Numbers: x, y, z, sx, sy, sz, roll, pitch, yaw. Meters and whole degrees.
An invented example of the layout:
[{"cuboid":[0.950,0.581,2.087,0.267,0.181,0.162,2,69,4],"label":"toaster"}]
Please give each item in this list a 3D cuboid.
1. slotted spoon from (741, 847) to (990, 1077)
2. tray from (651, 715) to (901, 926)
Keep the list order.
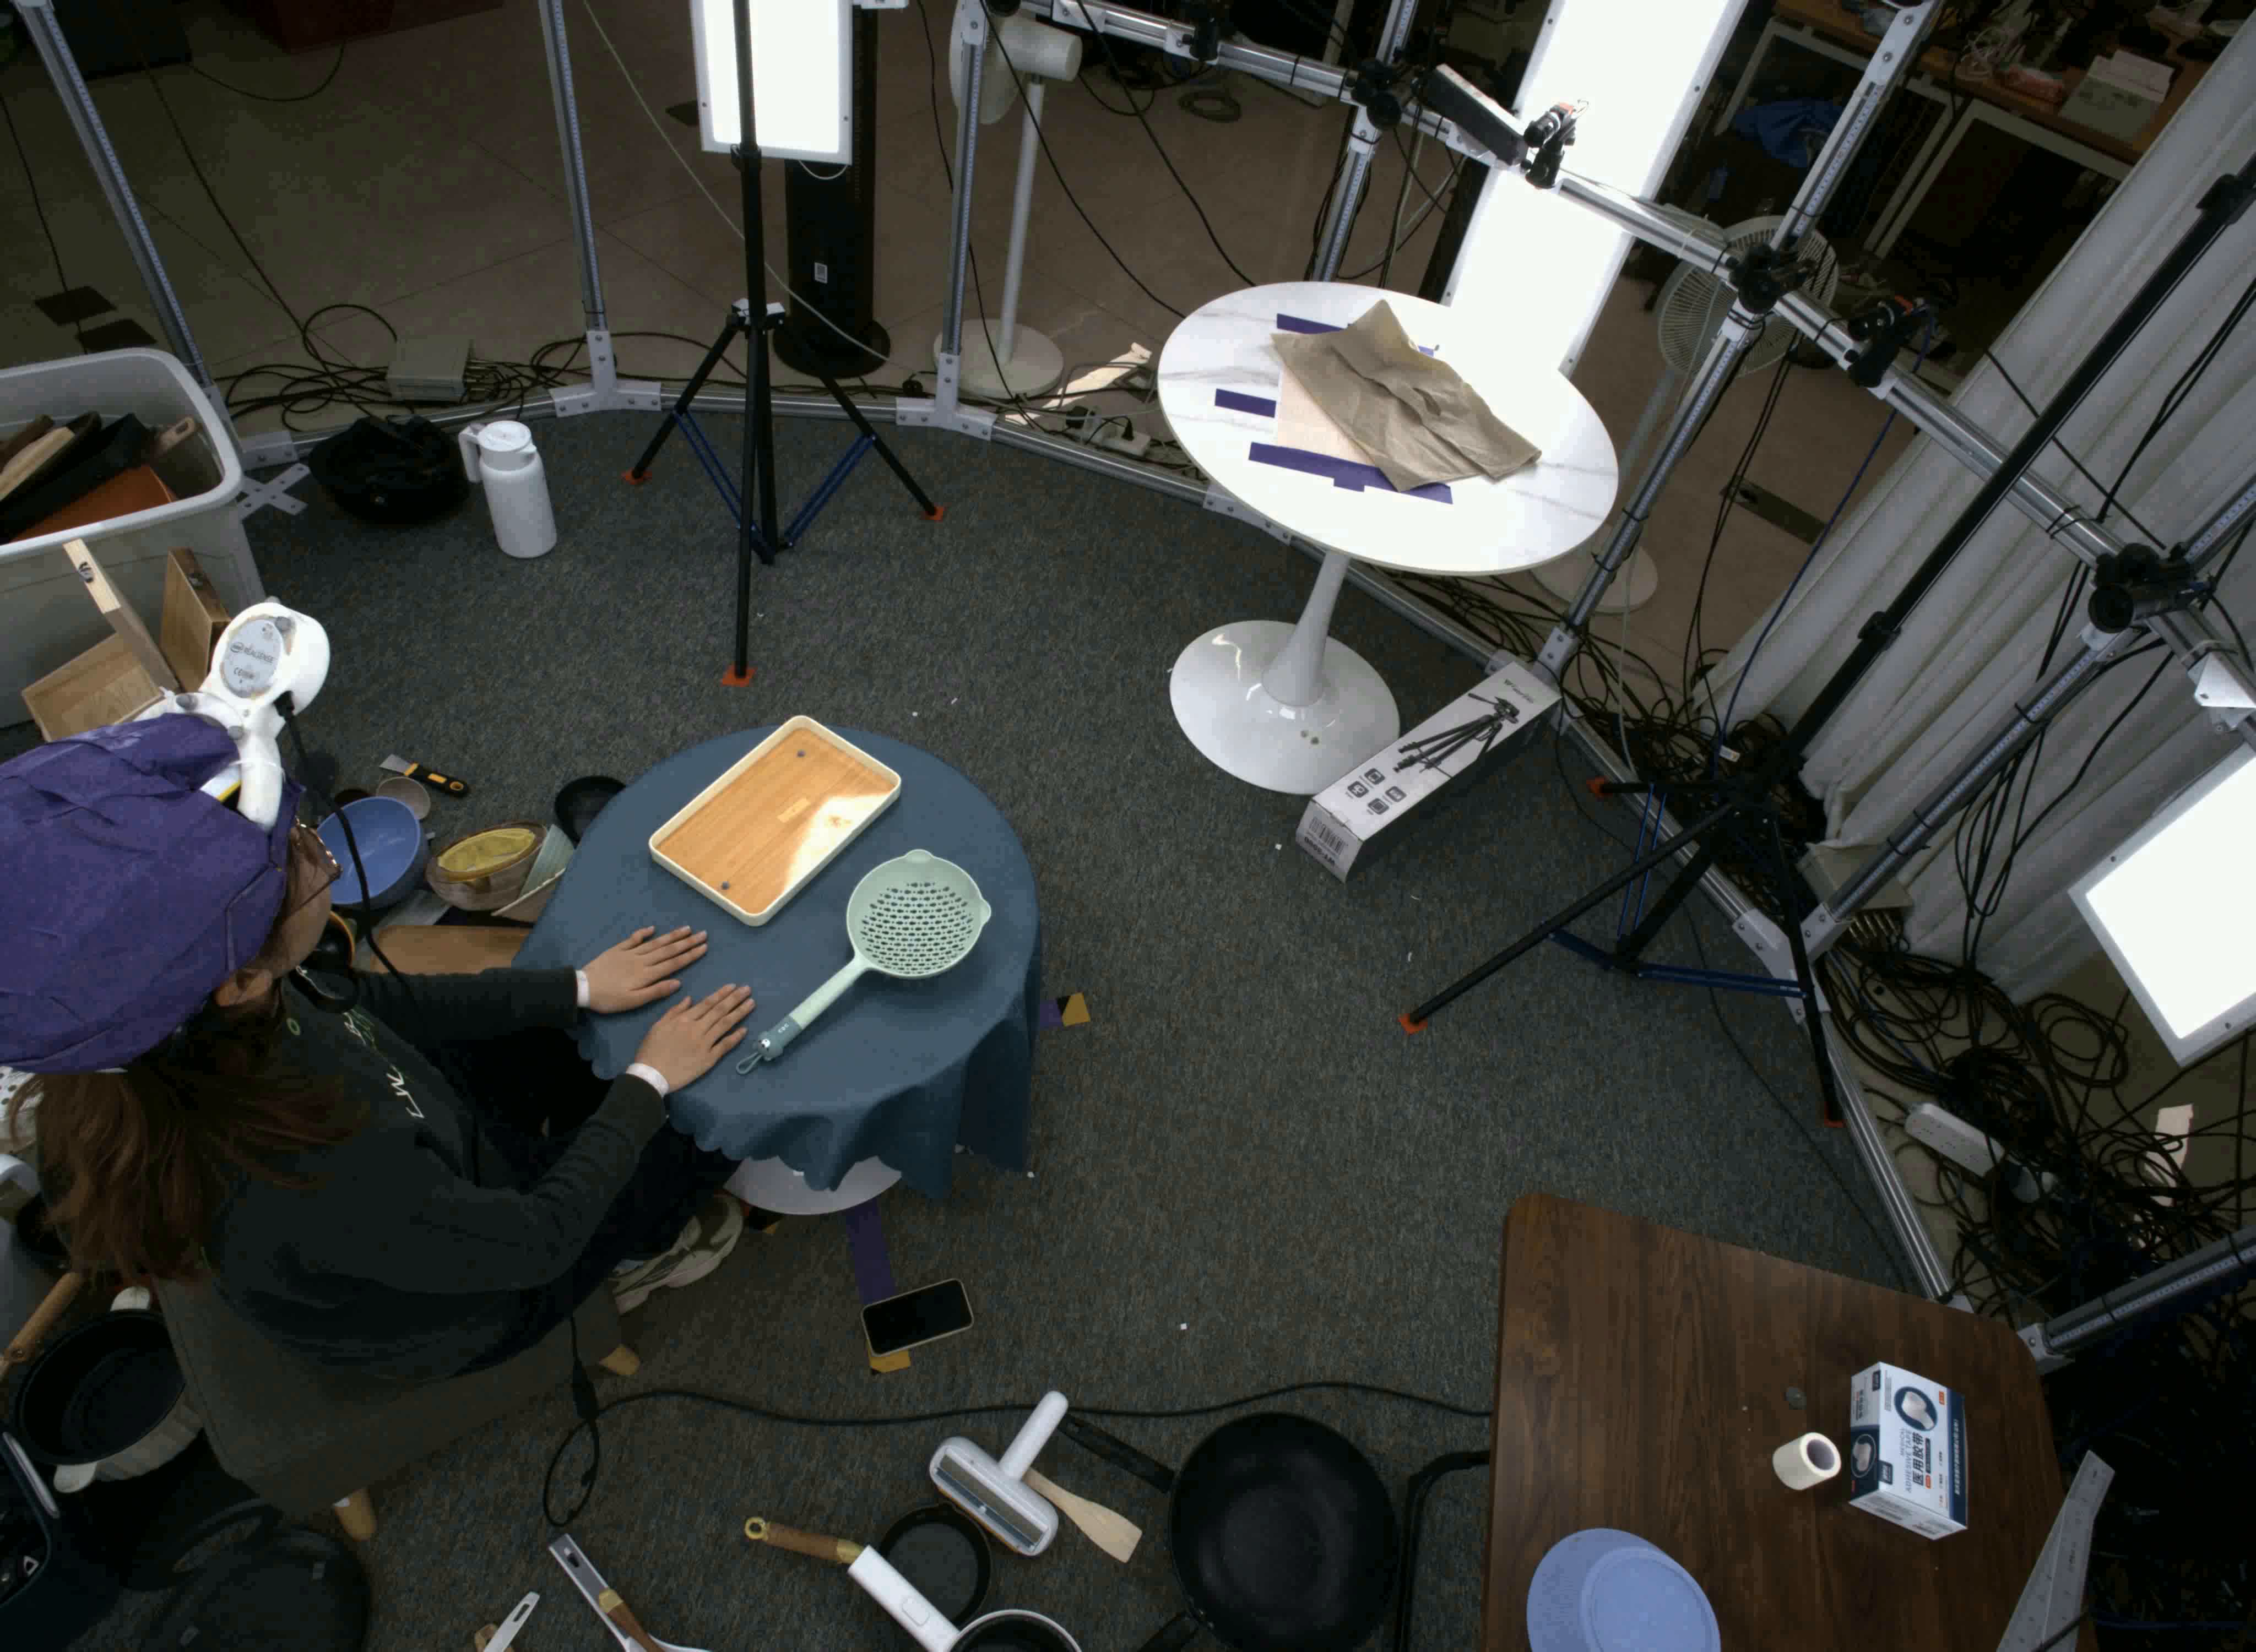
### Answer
[{"cuboid":[-0.329,0.172,1.584,0.165,0.077,0.359,39,54,17],"label":"slotted spoon"},{"cuboid":[-0.461,-0.015,1.714,0.188,0.028,0.299,33,53,11],"label":"tray"}]
